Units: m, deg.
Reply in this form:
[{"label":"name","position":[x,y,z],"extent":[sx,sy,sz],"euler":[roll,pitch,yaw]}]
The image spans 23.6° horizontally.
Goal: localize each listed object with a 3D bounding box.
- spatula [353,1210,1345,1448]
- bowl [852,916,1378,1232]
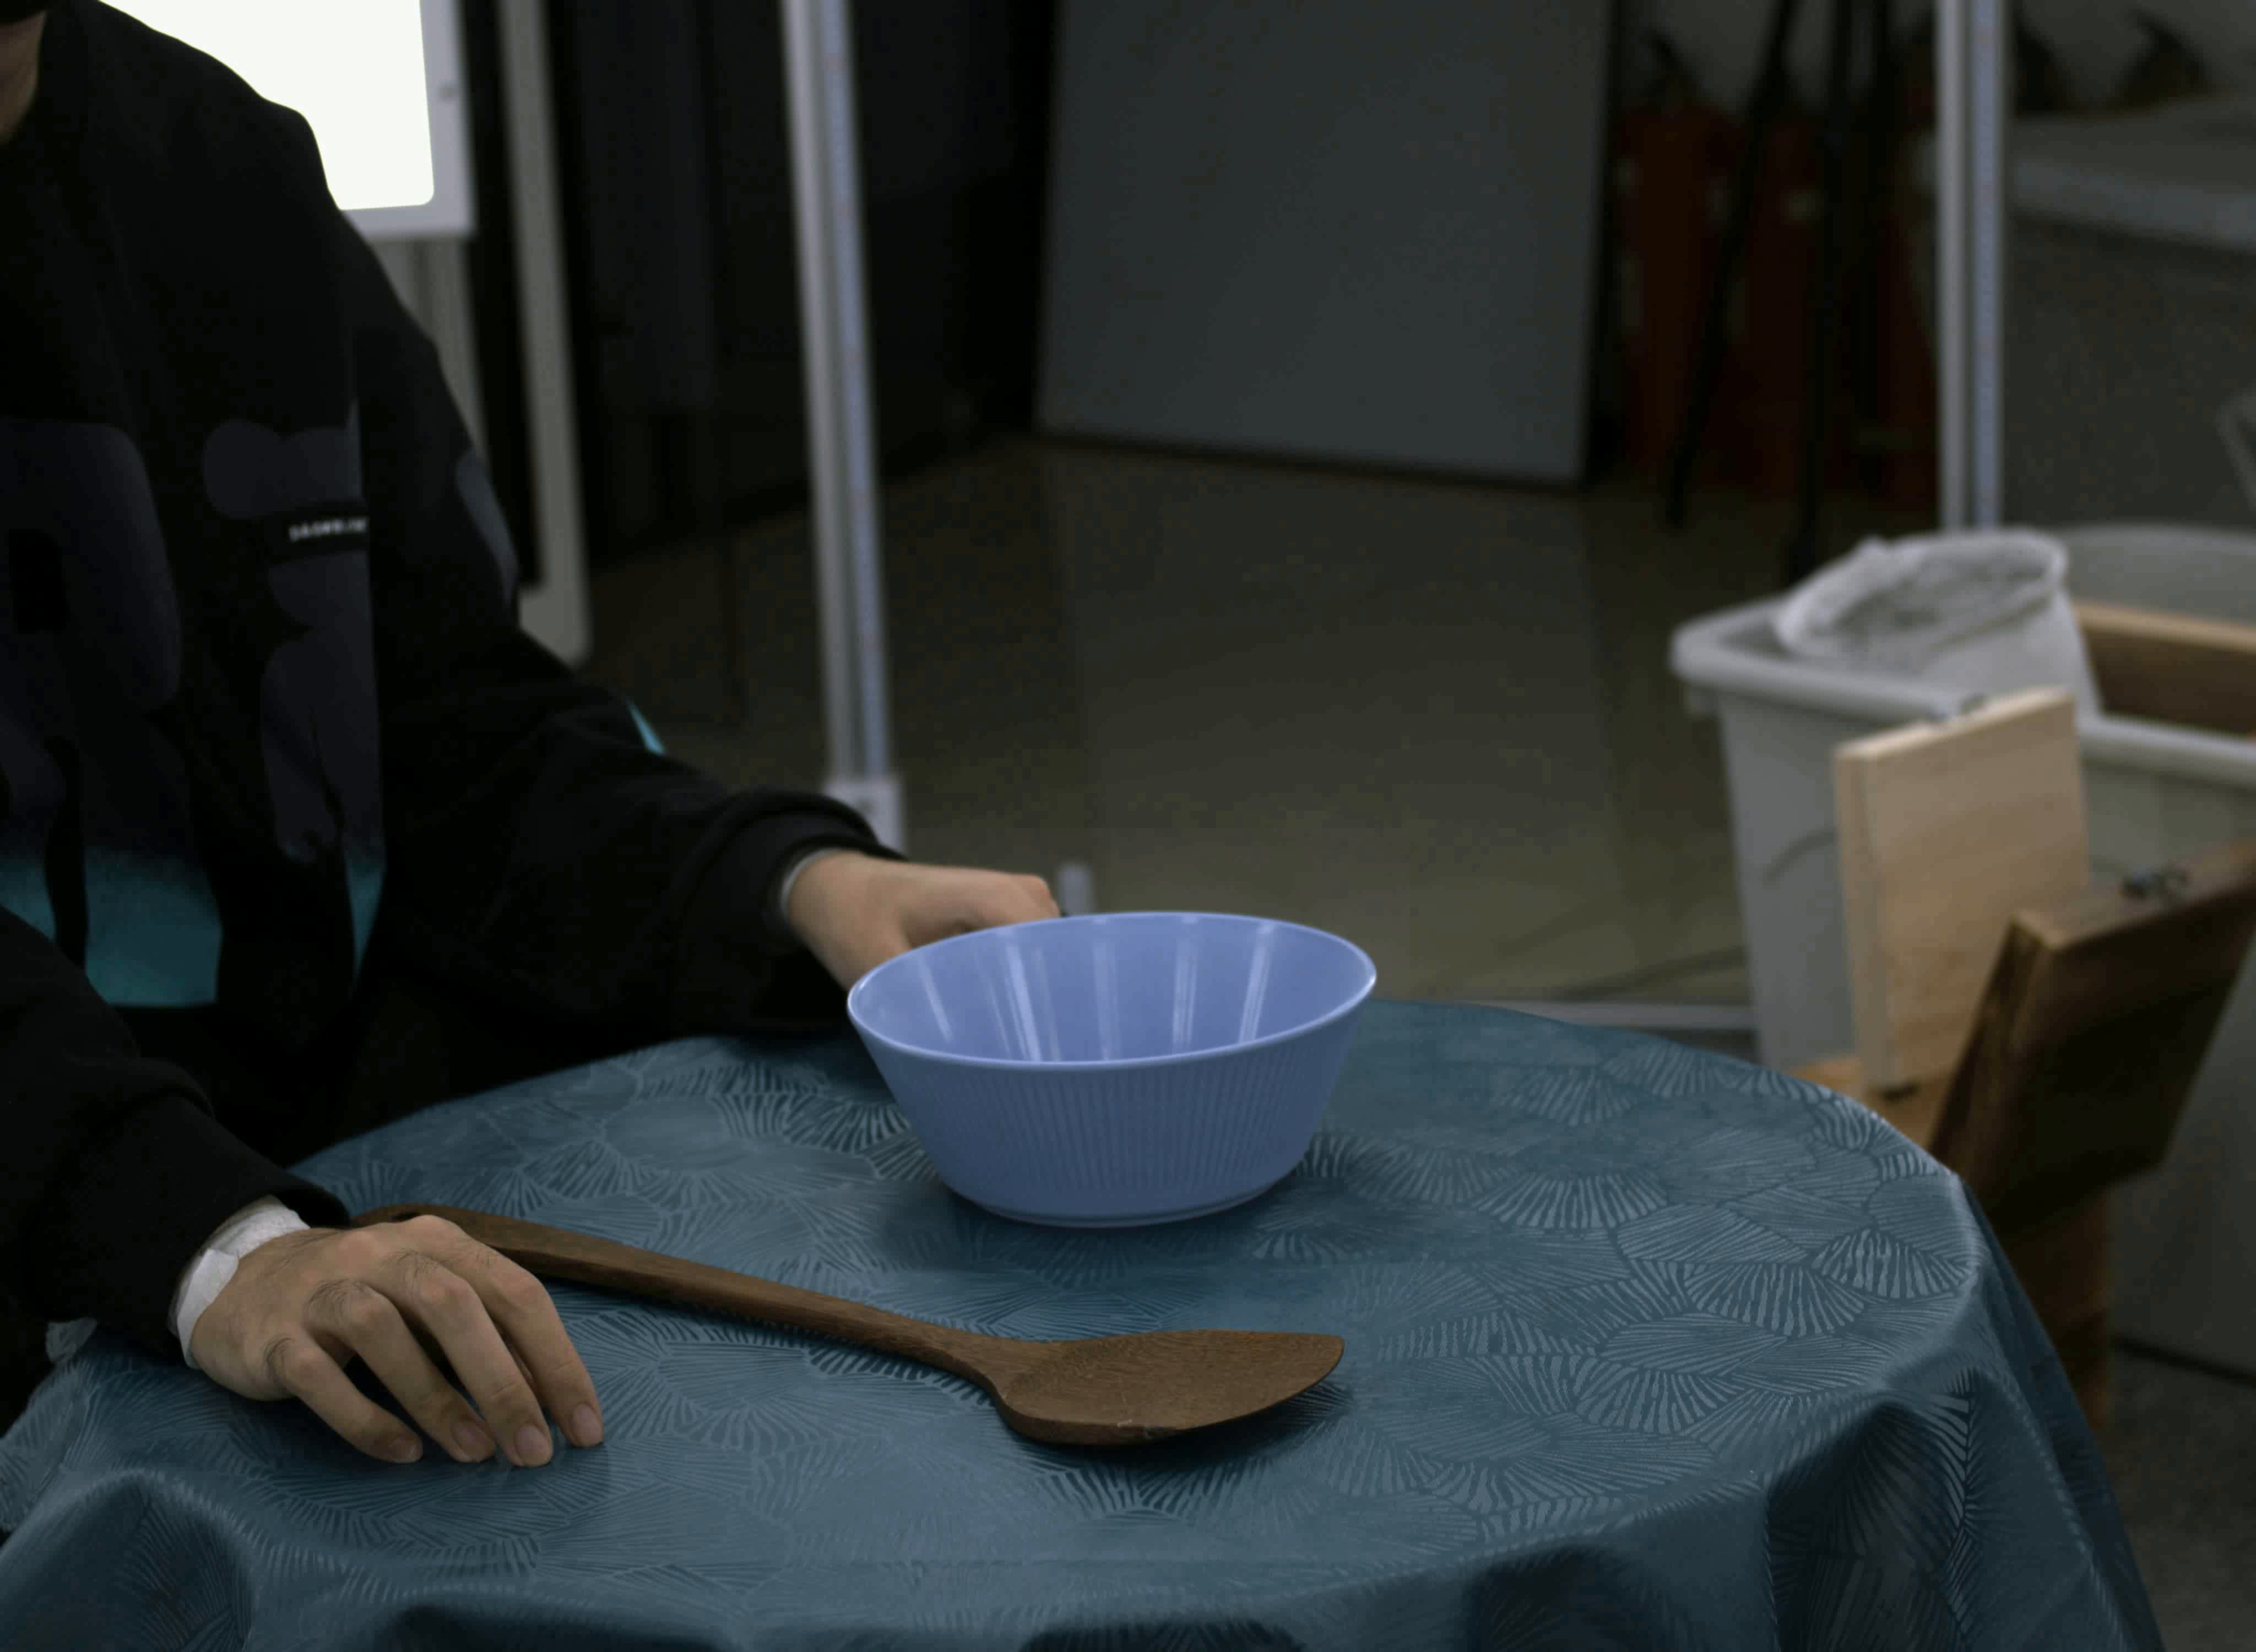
[{"label":"spatula","position":[-0.103,0.149,1.659],"extent":[0.389,0.016,0.094],"euler":[7,17,39]},{"label":"bowl","position":[-0.002,0.084,1.777],"extent":[0.174,0.071,0.176],"euler":[-5,13,0]}]
